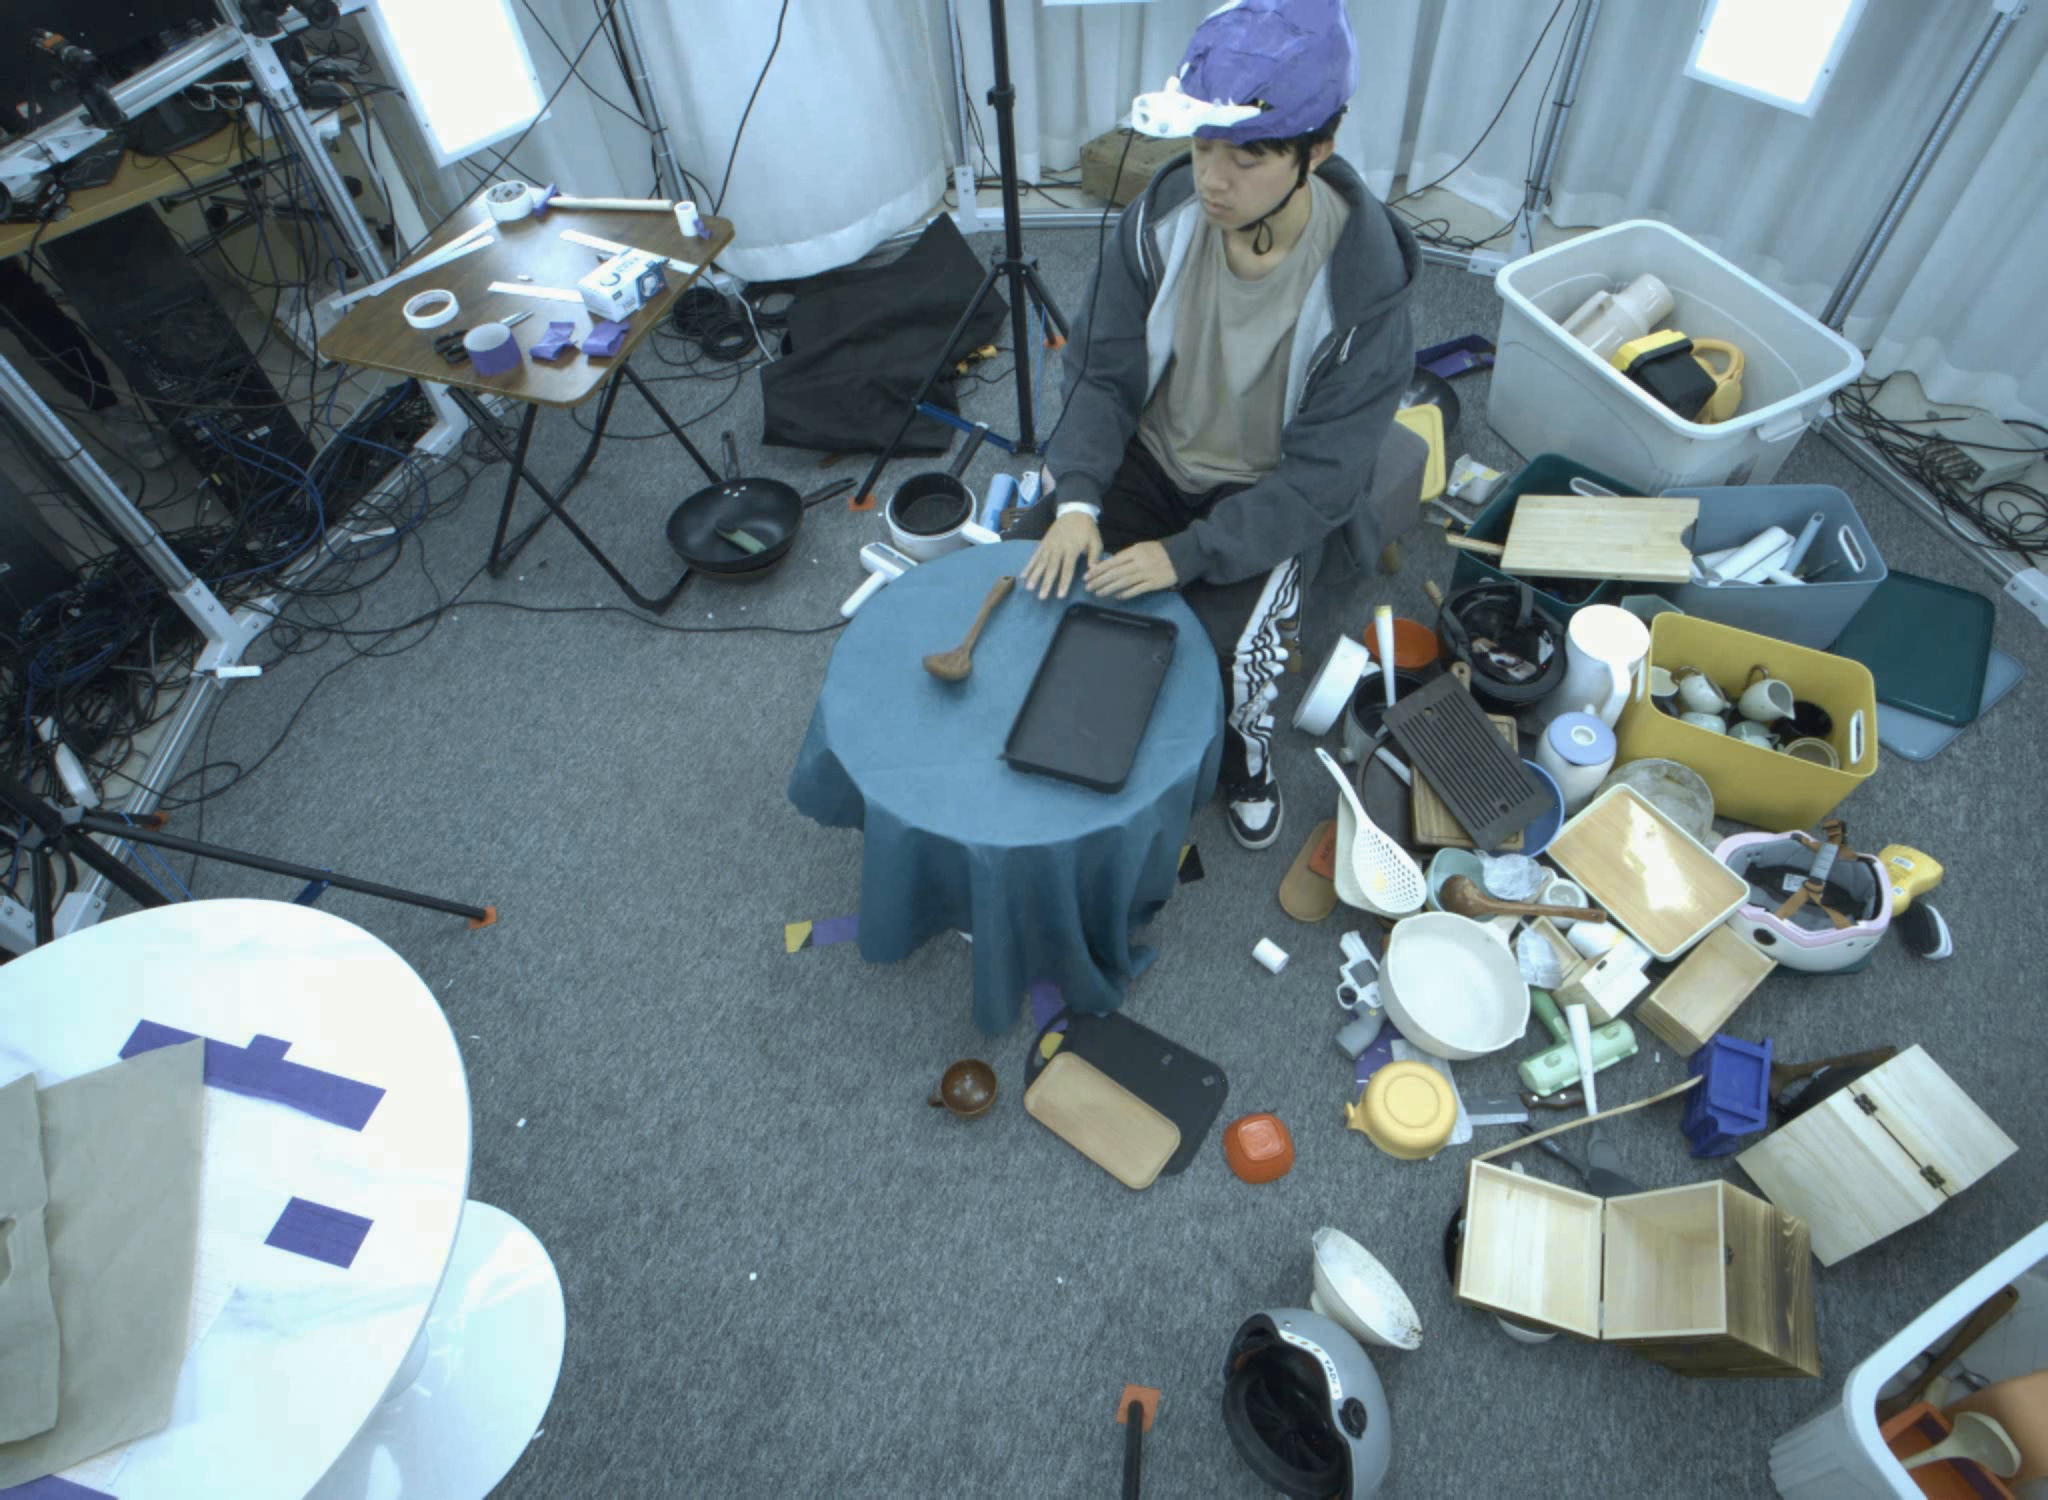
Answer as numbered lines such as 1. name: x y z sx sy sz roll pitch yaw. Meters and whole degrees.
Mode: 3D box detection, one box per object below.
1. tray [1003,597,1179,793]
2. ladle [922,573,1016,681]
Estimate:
1. tray: 0.103 -0.088 1.823 0.182 0.037 0.317 15 58 13
2. ladle: -0.075 -0.201 1.896 0.076 0.065 0.260 23 58 12
